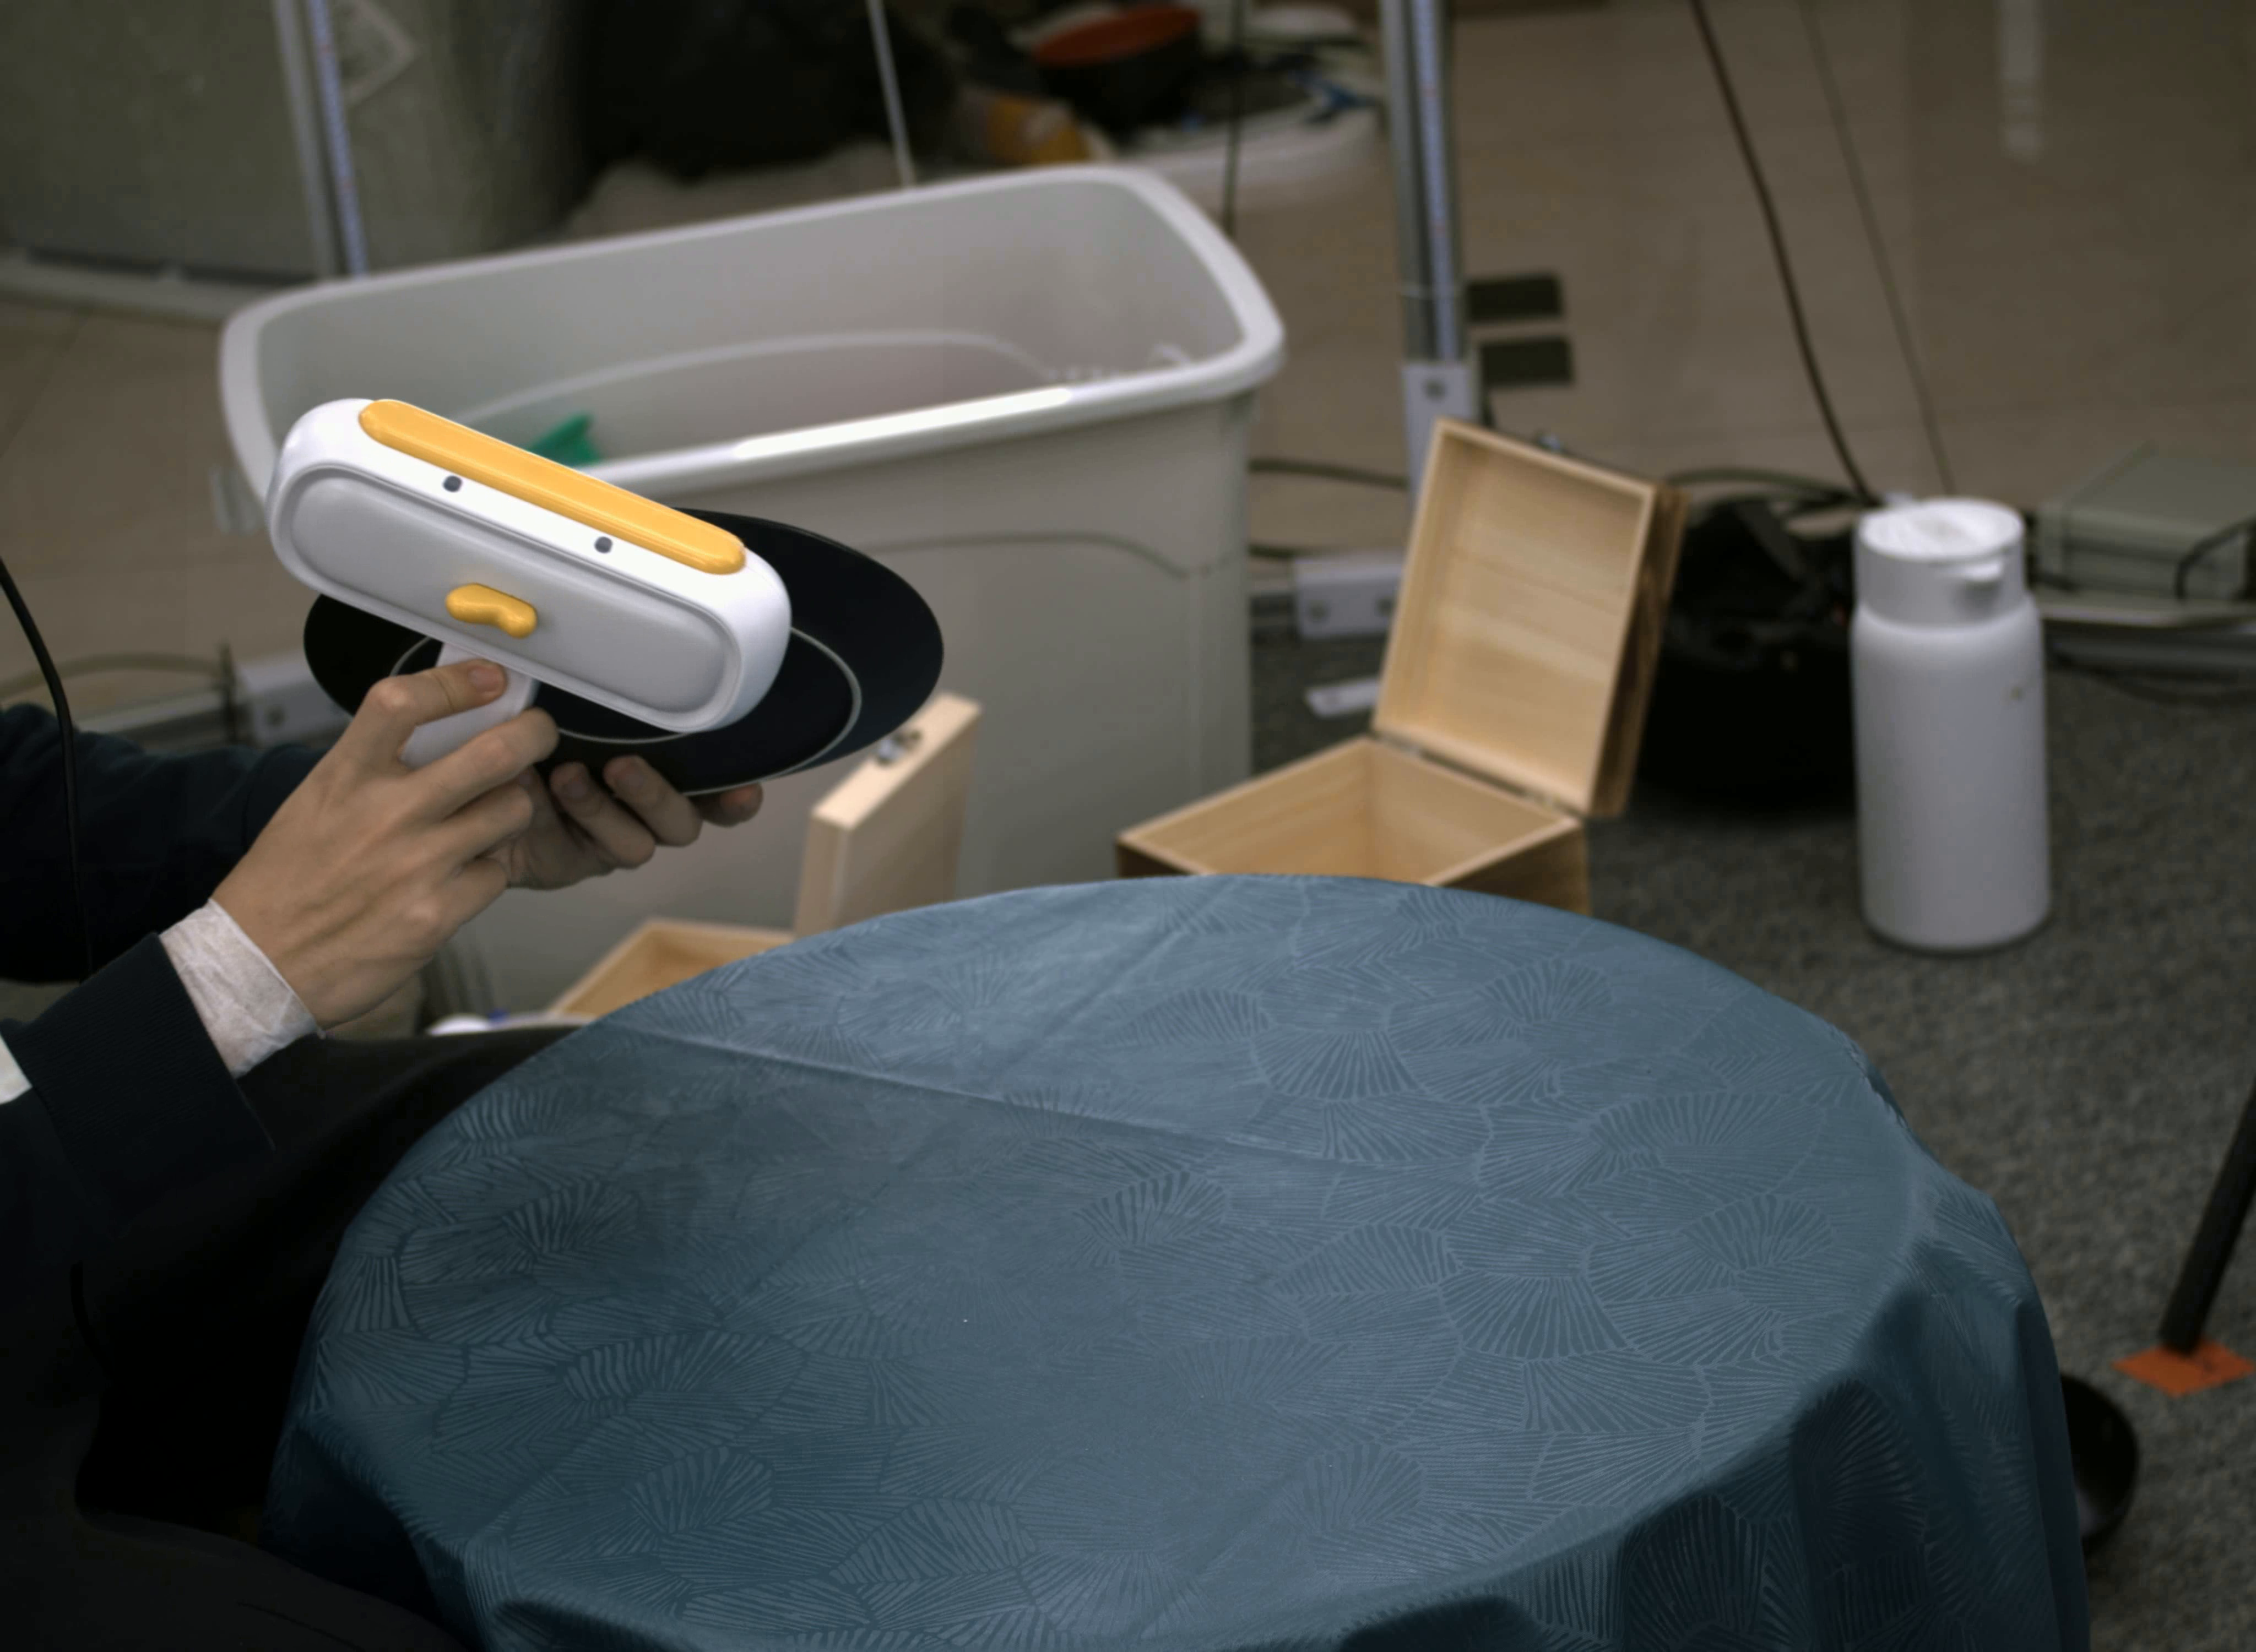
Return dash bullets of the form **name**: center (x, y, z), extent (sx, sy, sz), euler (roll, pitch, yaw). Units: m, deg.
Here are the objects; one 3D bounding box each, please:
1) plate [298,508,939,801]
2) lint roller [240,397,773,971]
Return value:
- **plate**: center (-0.193, -0.057, 2.144), extent (0.244, 0.248, 0.023), euler (-4, 66, 5)
- **lint roller**: center (-0.237, -0.042, 2.028), extent (0.193, 0.195, 0.073), euler (16, 27, -3)
